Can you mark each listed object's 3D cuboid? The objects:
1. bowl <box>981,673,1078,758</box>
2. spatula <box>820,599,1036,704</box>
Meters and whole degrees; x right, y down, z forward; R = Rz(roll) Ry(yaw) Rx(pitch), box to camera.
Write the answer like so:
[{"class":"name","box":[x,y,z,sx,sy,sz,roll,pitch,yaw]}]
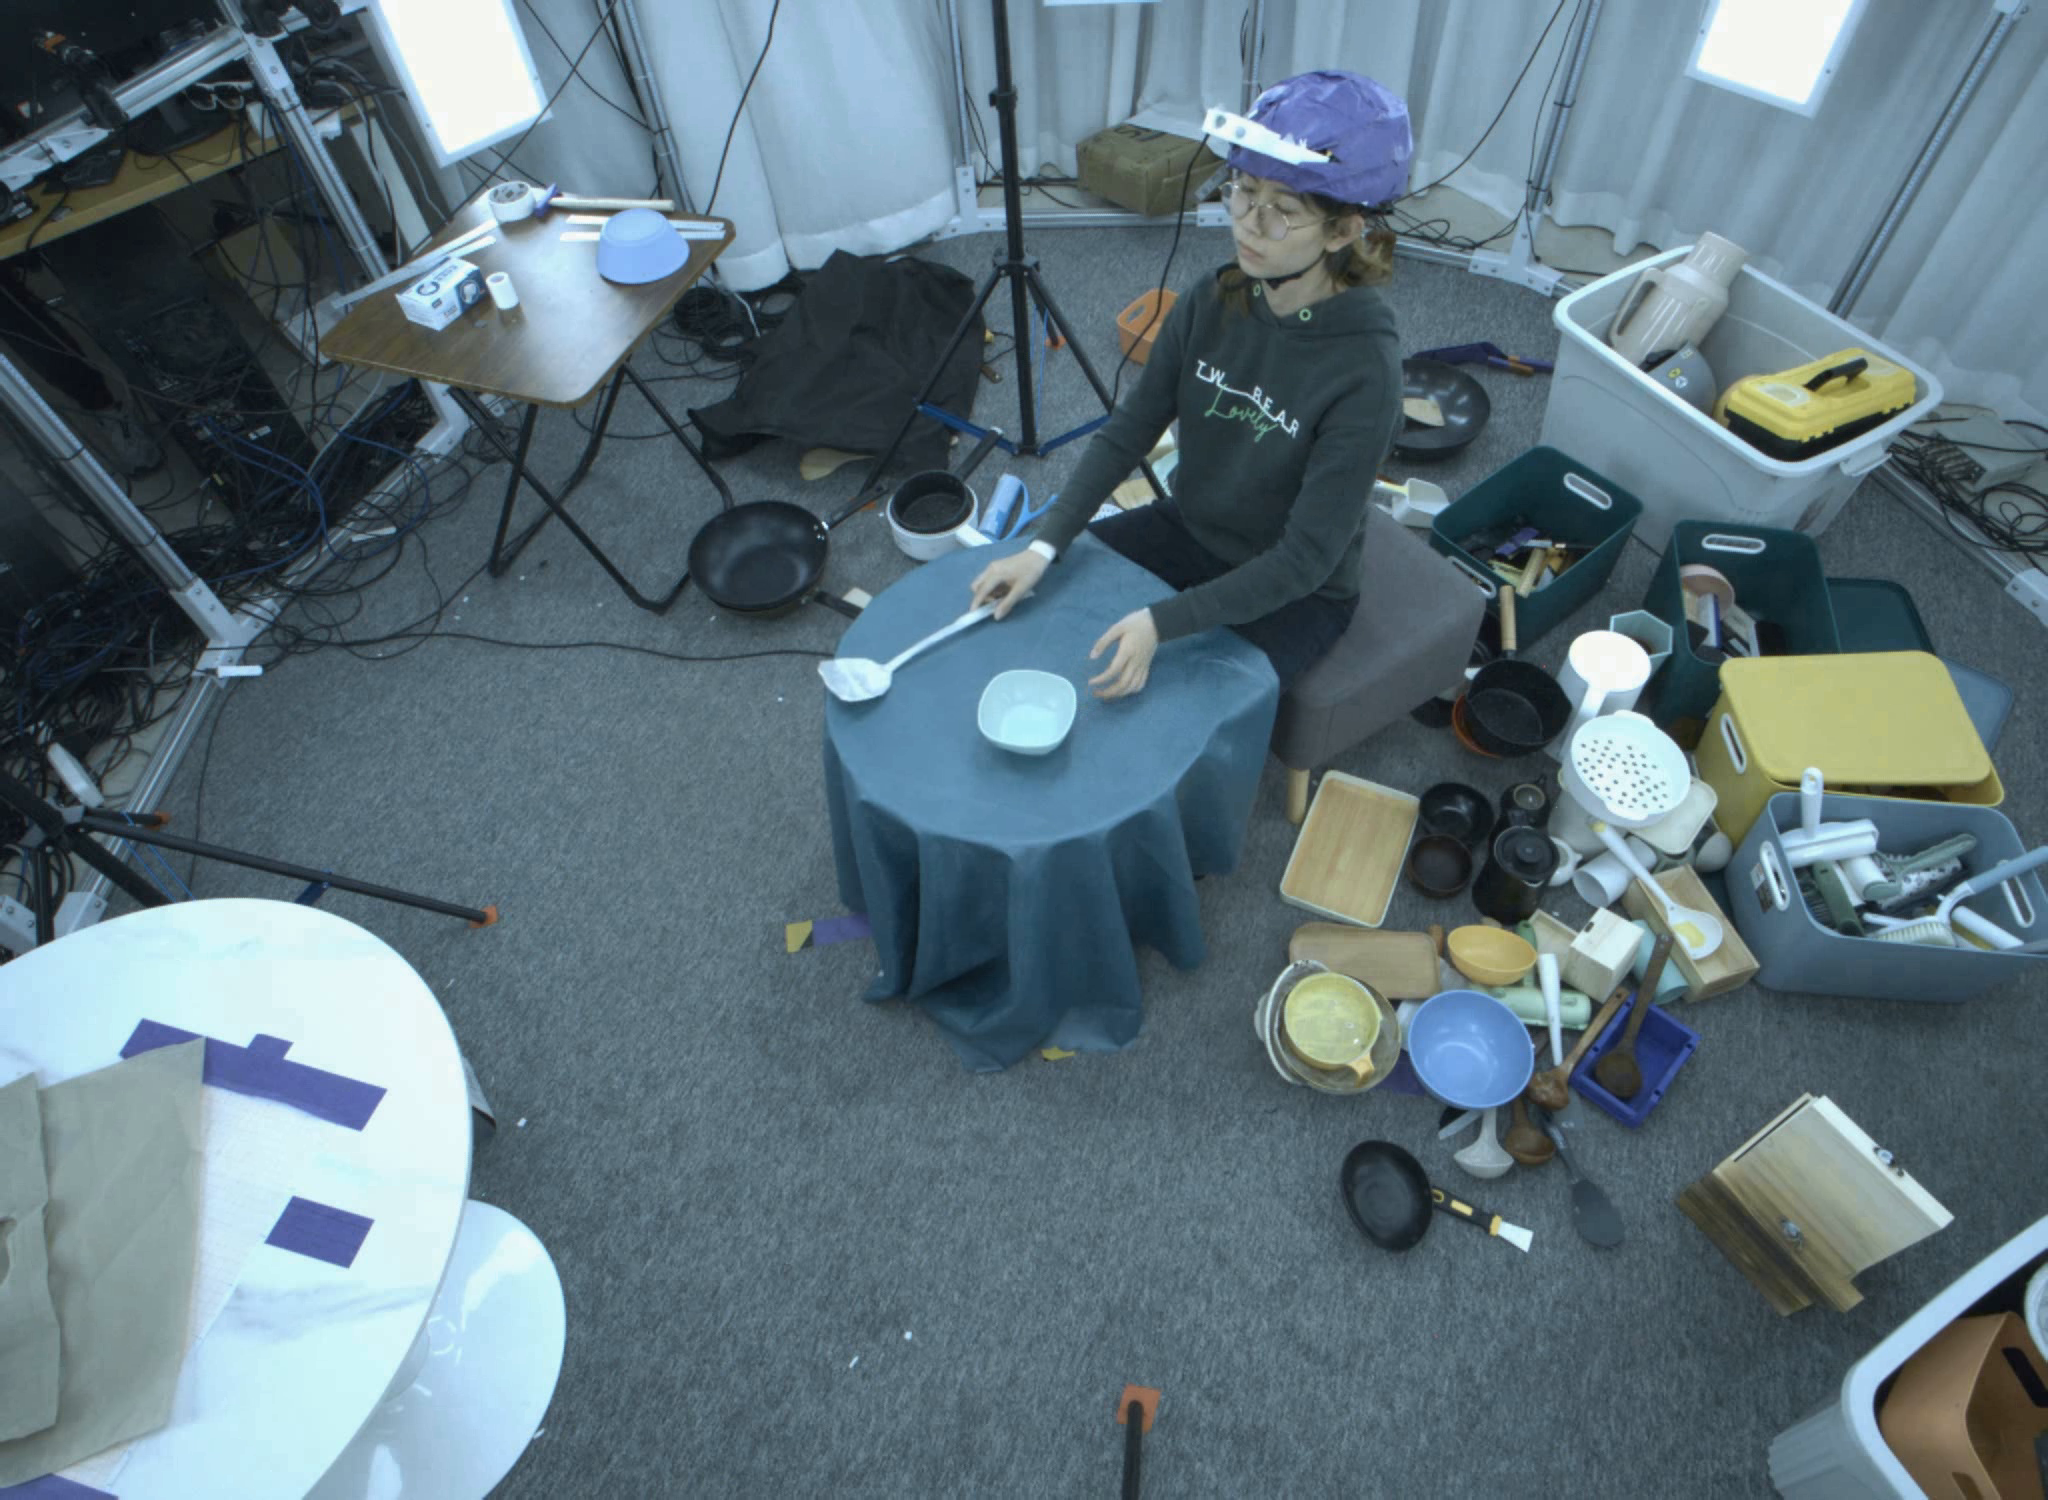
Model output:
[{"class":"bowl","box":[0.009,-0.040,1.794,0.151,0.059,0.150,0,57,2]},{"class":"spatula","box":[-0.141,-0.166,1.895,0.368,0.045,0.097,-30,57,-18]}]
